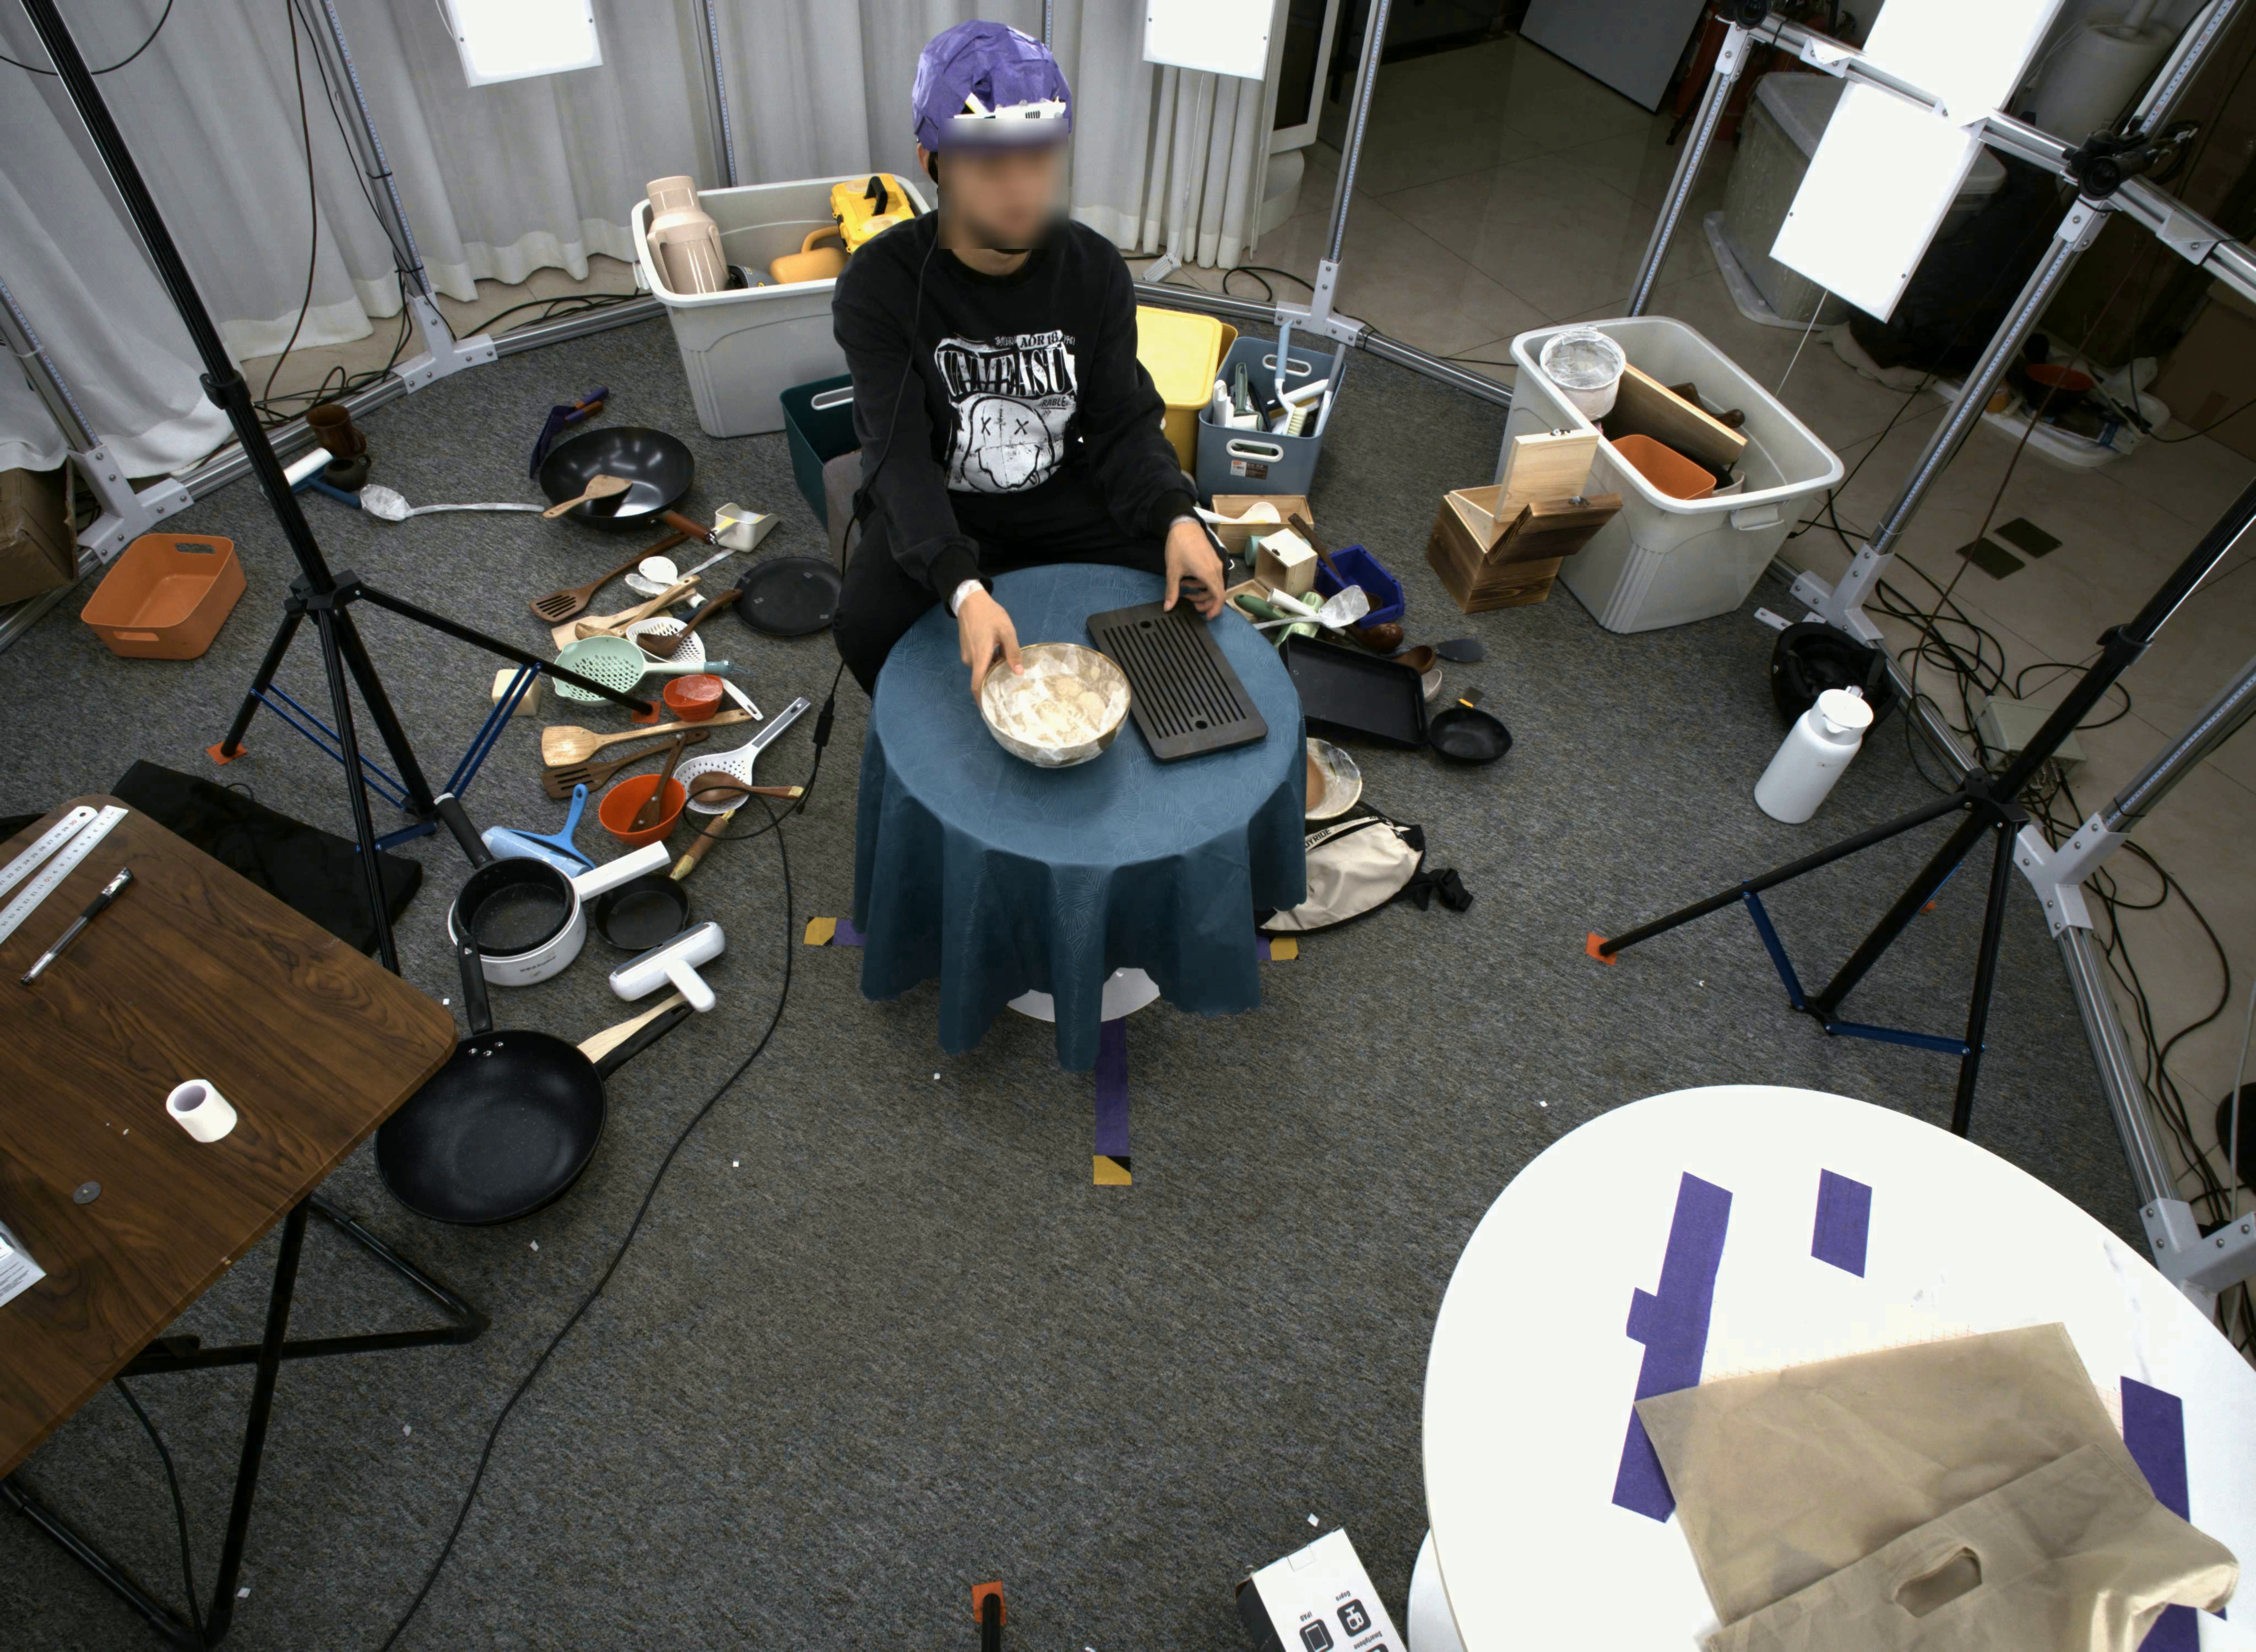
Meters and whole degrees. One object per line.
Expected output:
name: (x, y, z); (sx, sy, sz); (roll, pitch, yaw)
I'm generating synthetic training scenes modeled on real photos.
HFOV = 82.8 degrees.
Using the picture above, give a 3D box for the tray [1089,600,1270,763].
tray: (0.070, -0.215, 1.864); (0.170, 0.018, 0.313); (-14, 51, -15)

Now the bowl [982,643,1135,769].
bowl: (-0.093, -0.150, 1.748); (0.214, 0.092, 0.220); (1, 48, -1)
